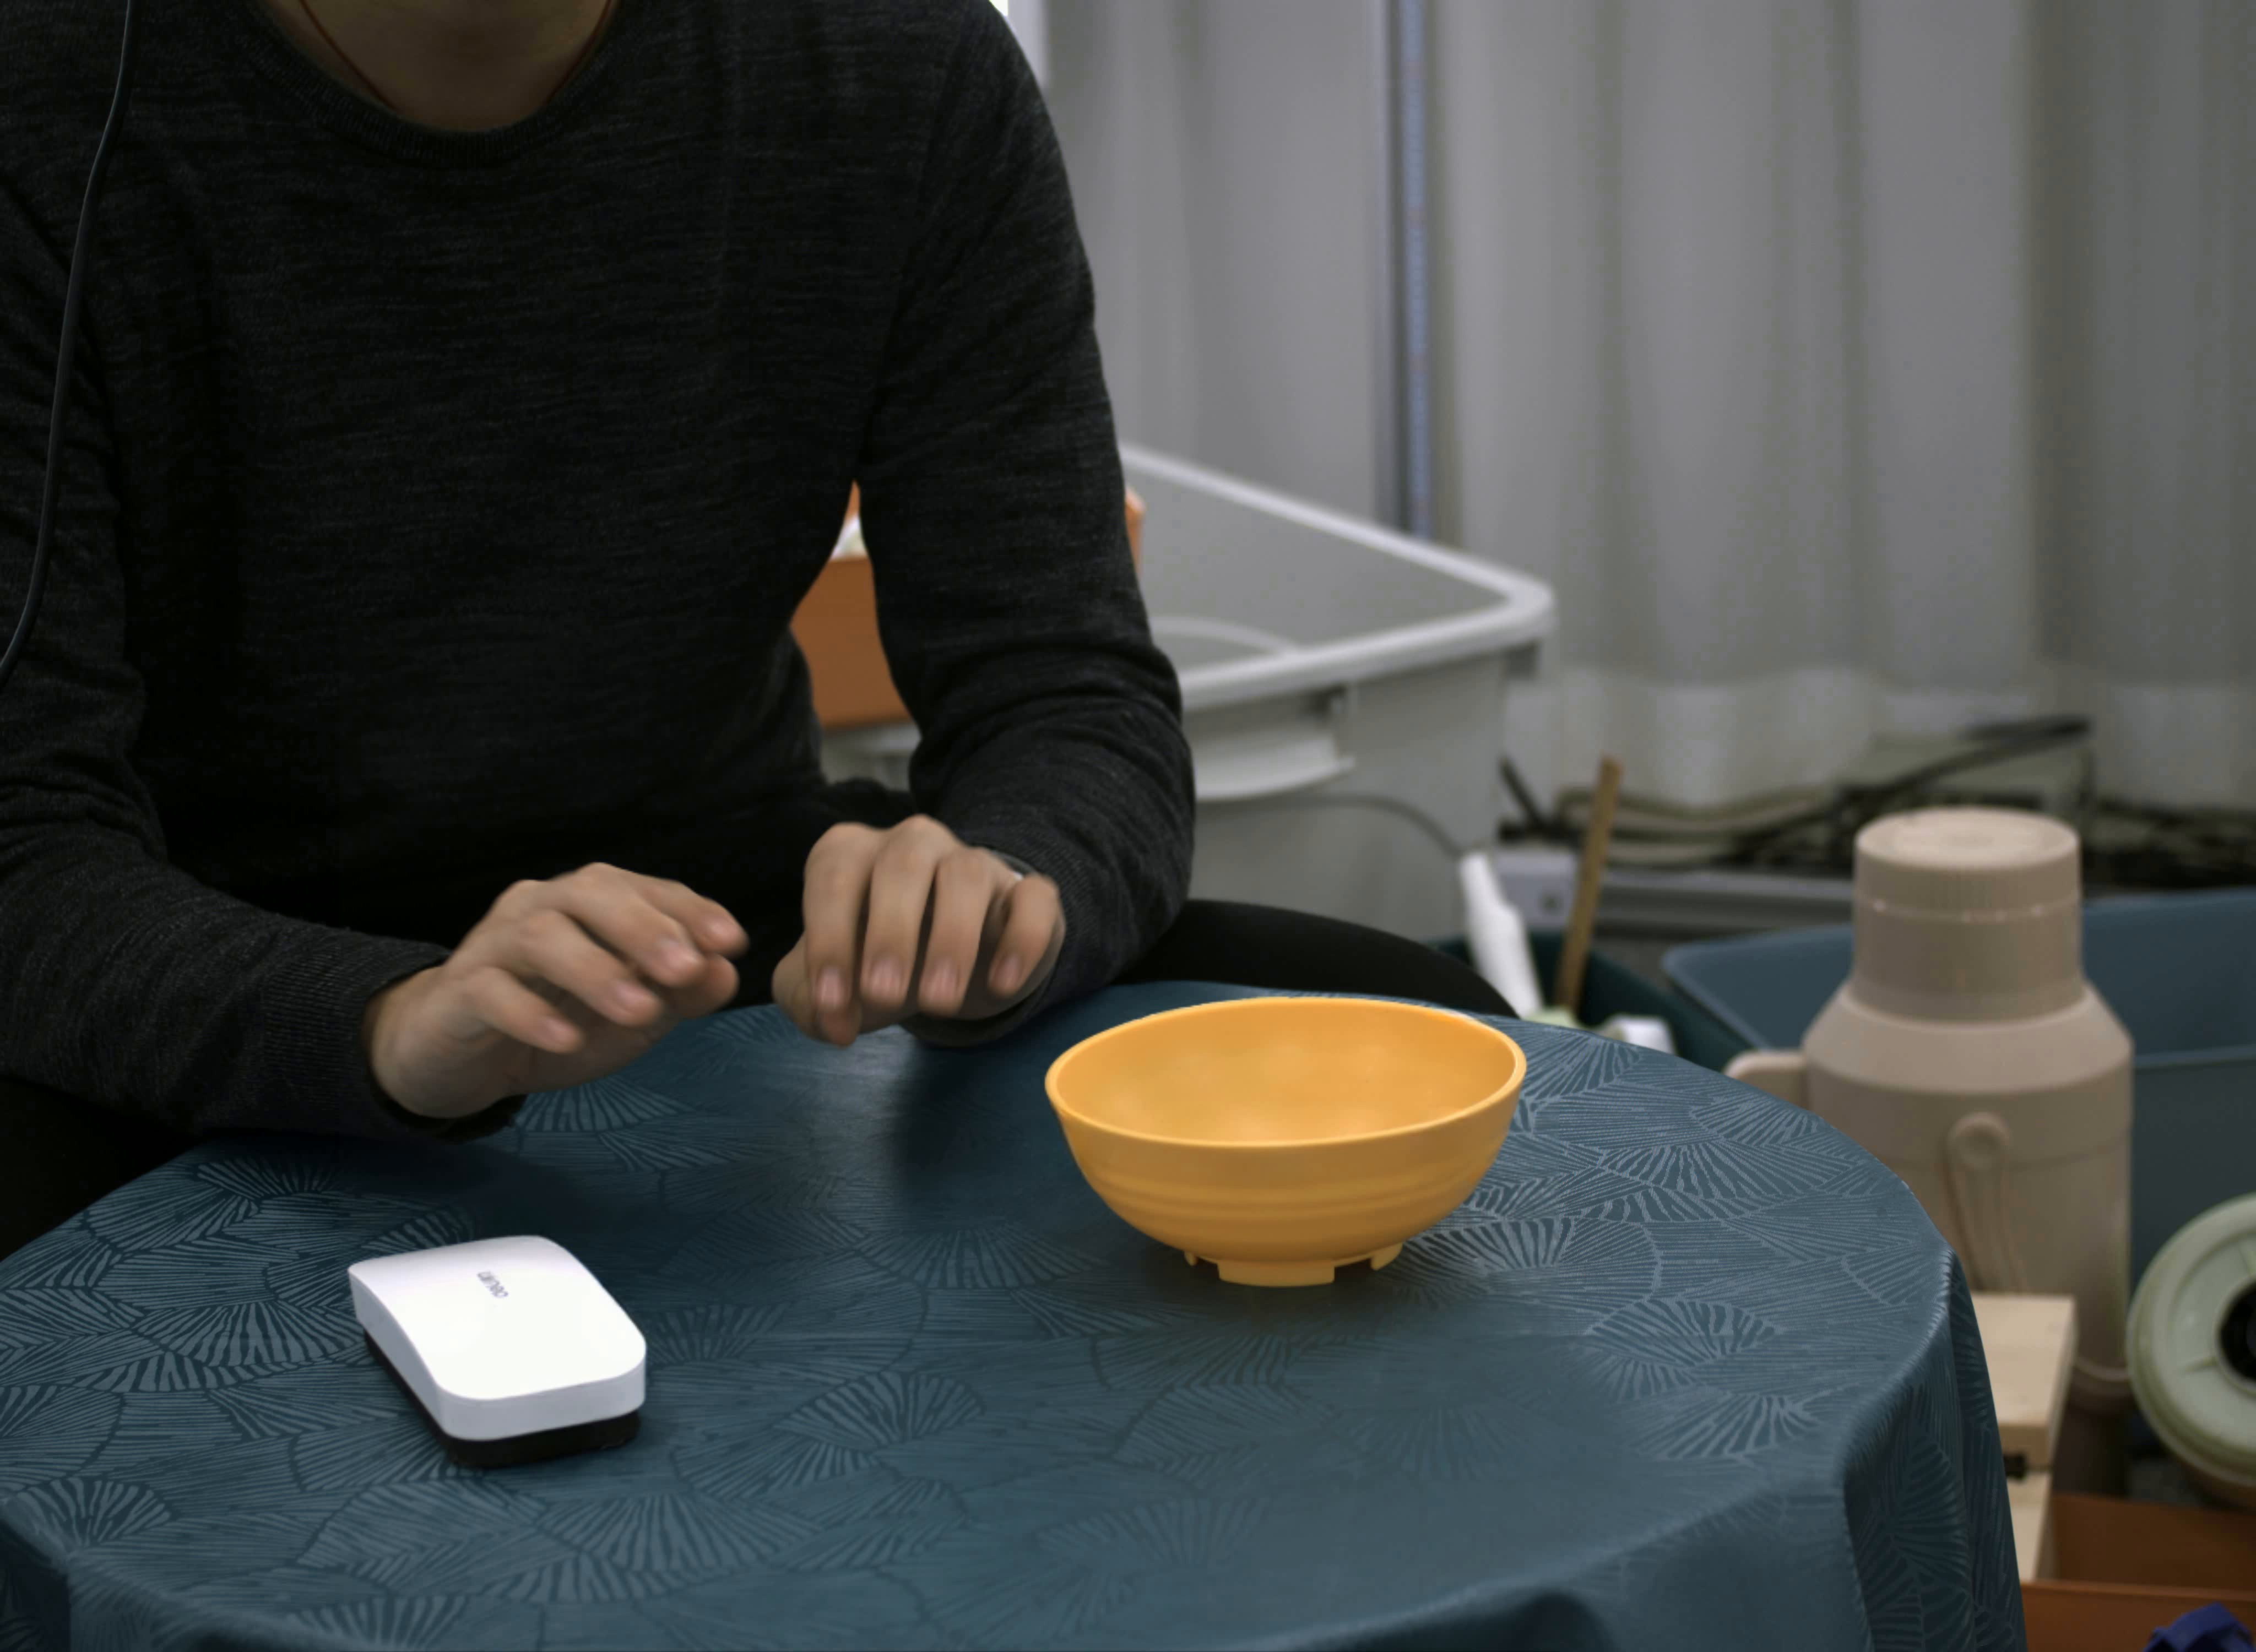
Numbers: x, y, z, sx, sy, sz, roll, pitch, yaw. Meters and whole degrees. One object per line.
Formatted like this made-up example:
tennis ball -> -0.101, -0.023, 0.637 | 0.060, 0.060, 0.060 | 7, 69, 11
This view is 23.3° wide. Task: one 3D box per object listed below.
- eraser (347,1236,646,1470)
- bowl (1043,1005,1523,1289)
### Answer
eraser -> -0.181, 0.147, 1.569 | 0.063, 0.034, 0.132 | -7, 16, -19
bowl -> 0.047, 0.101, 1.644 | 0.145, 0.060, 0.146 | -2, 14, 0
